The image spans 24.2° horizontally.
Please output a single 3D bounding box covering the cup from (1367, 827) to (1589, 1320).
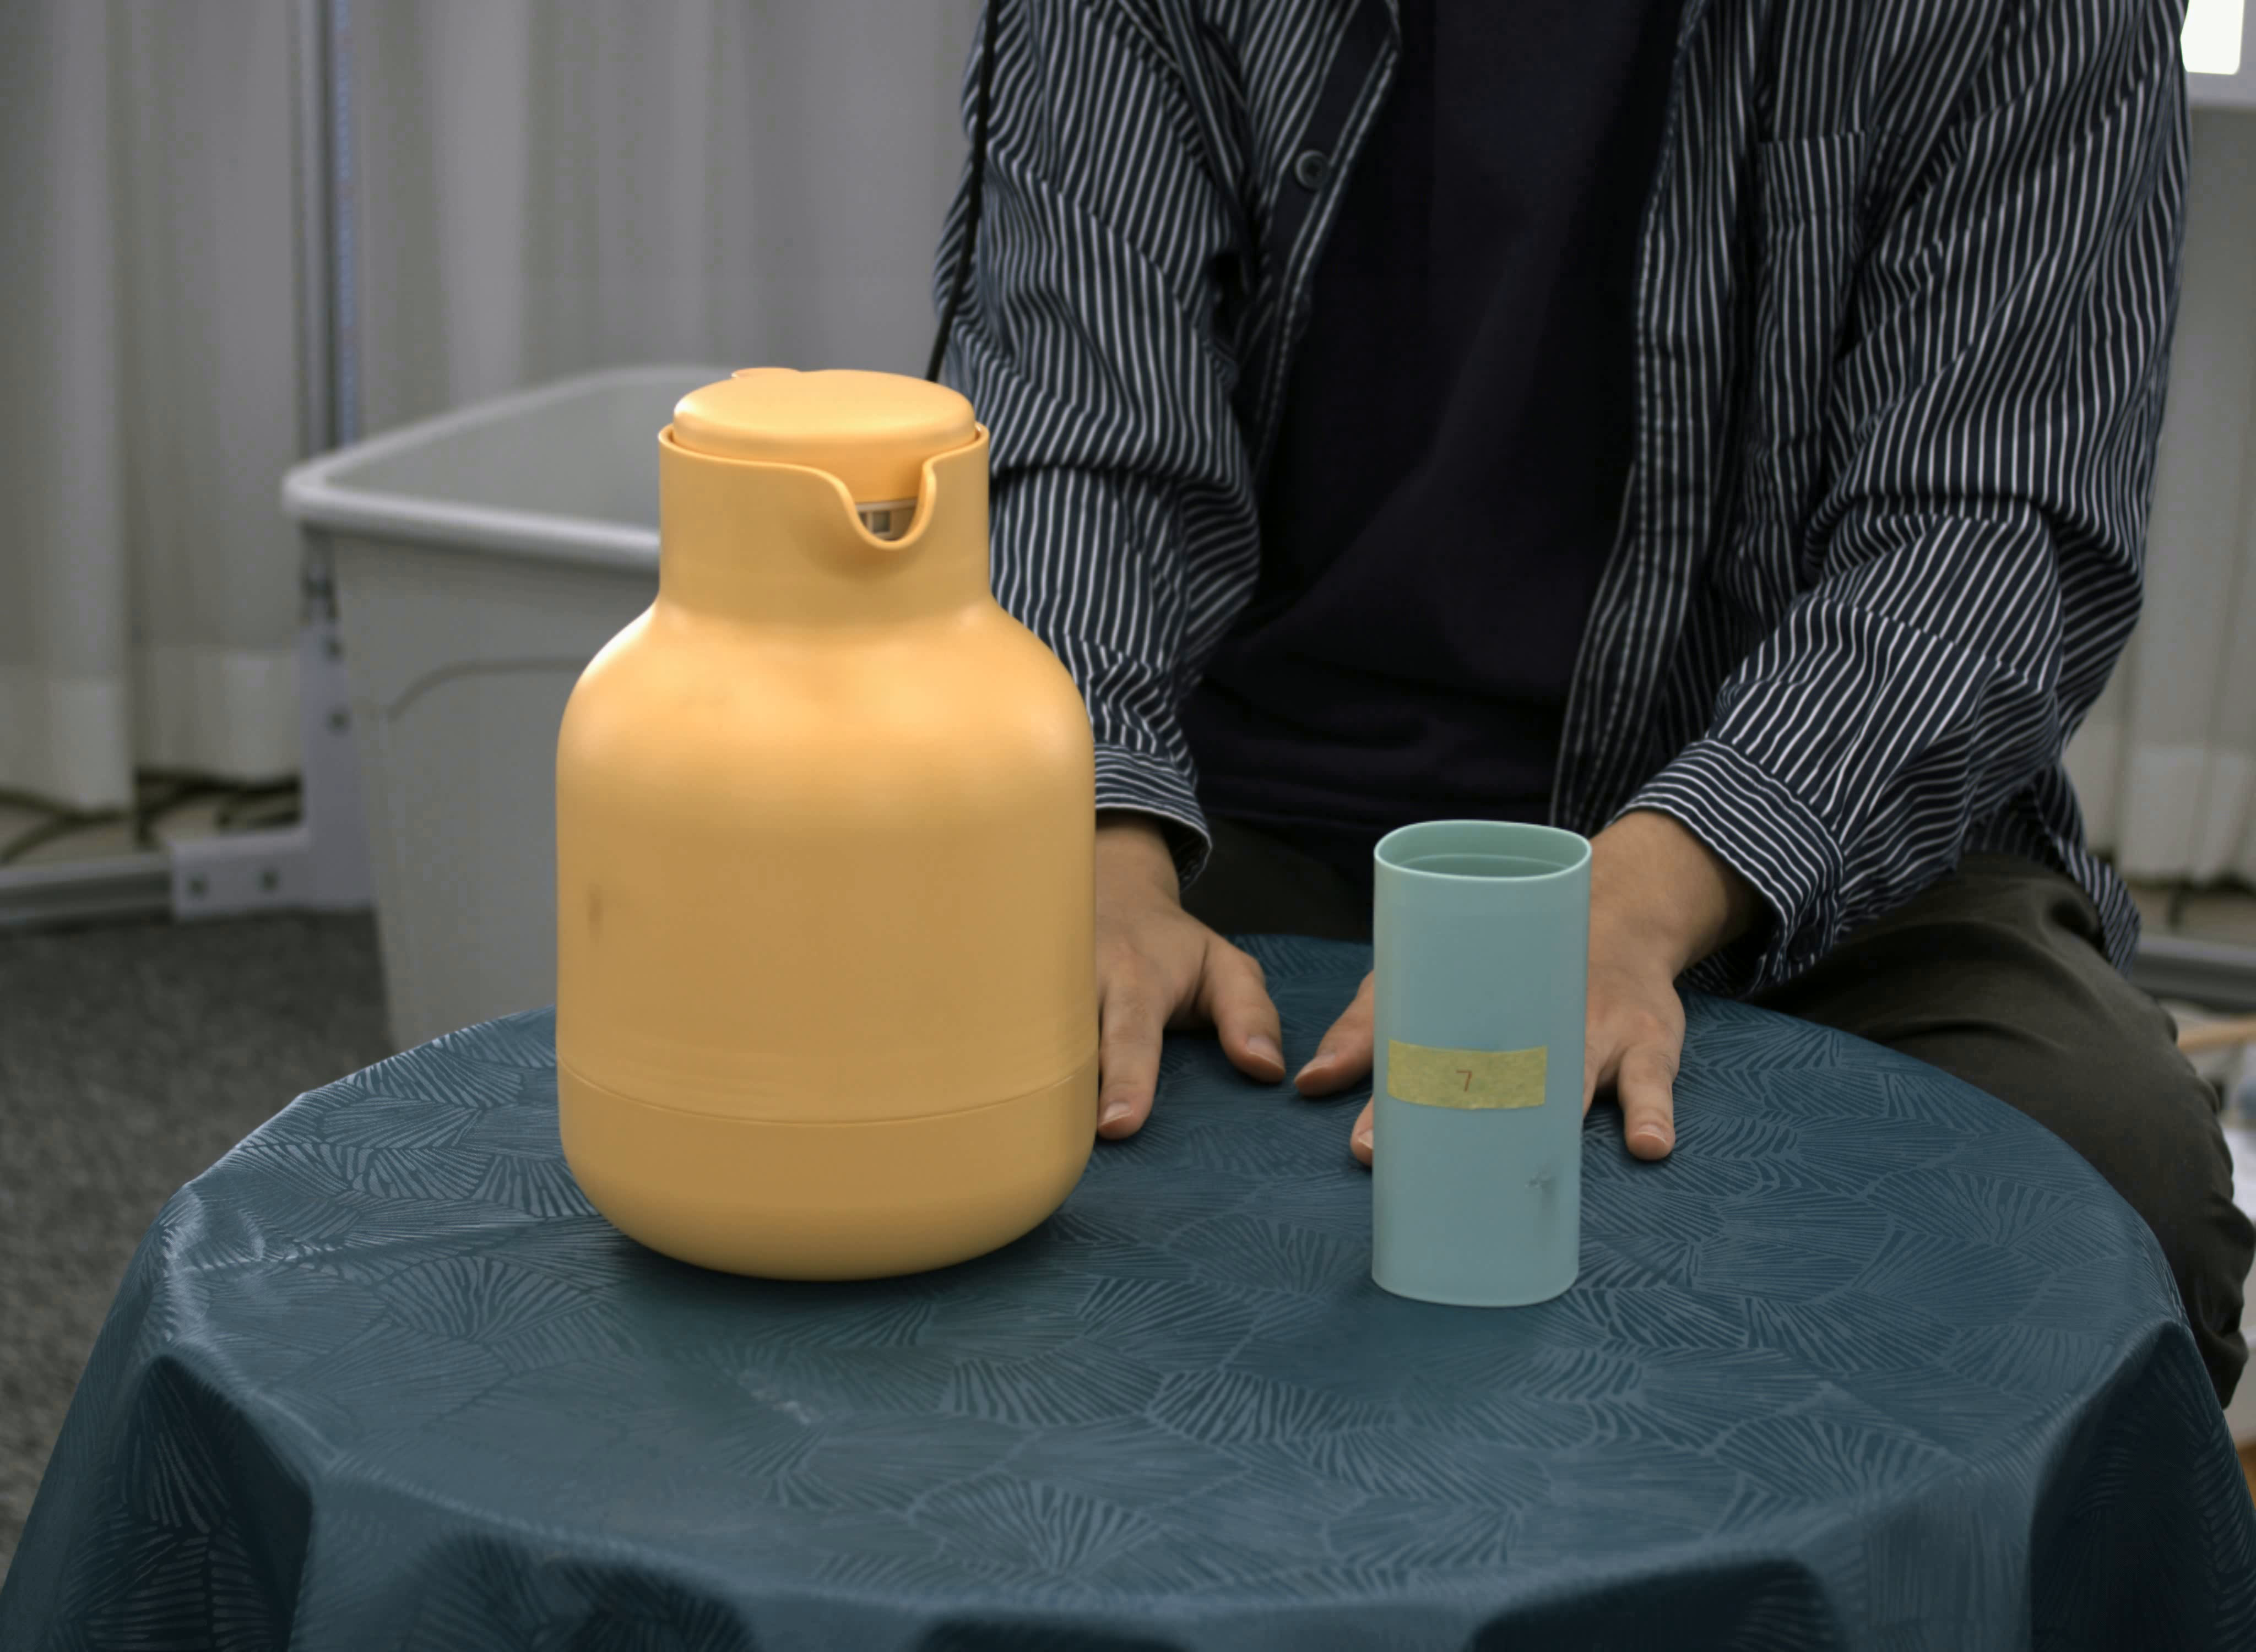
[{"bbox_3d":[0.102,0.071,1.543,0.066,0.133,0.066,0,18,0],"label":"cup"}]

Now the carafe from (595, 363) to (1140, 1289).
[{"bbox_3d":[-0.083,-0.008,1.574,0.164,0.262,0.200,-4,17,-21],"label":"carafe"}]
